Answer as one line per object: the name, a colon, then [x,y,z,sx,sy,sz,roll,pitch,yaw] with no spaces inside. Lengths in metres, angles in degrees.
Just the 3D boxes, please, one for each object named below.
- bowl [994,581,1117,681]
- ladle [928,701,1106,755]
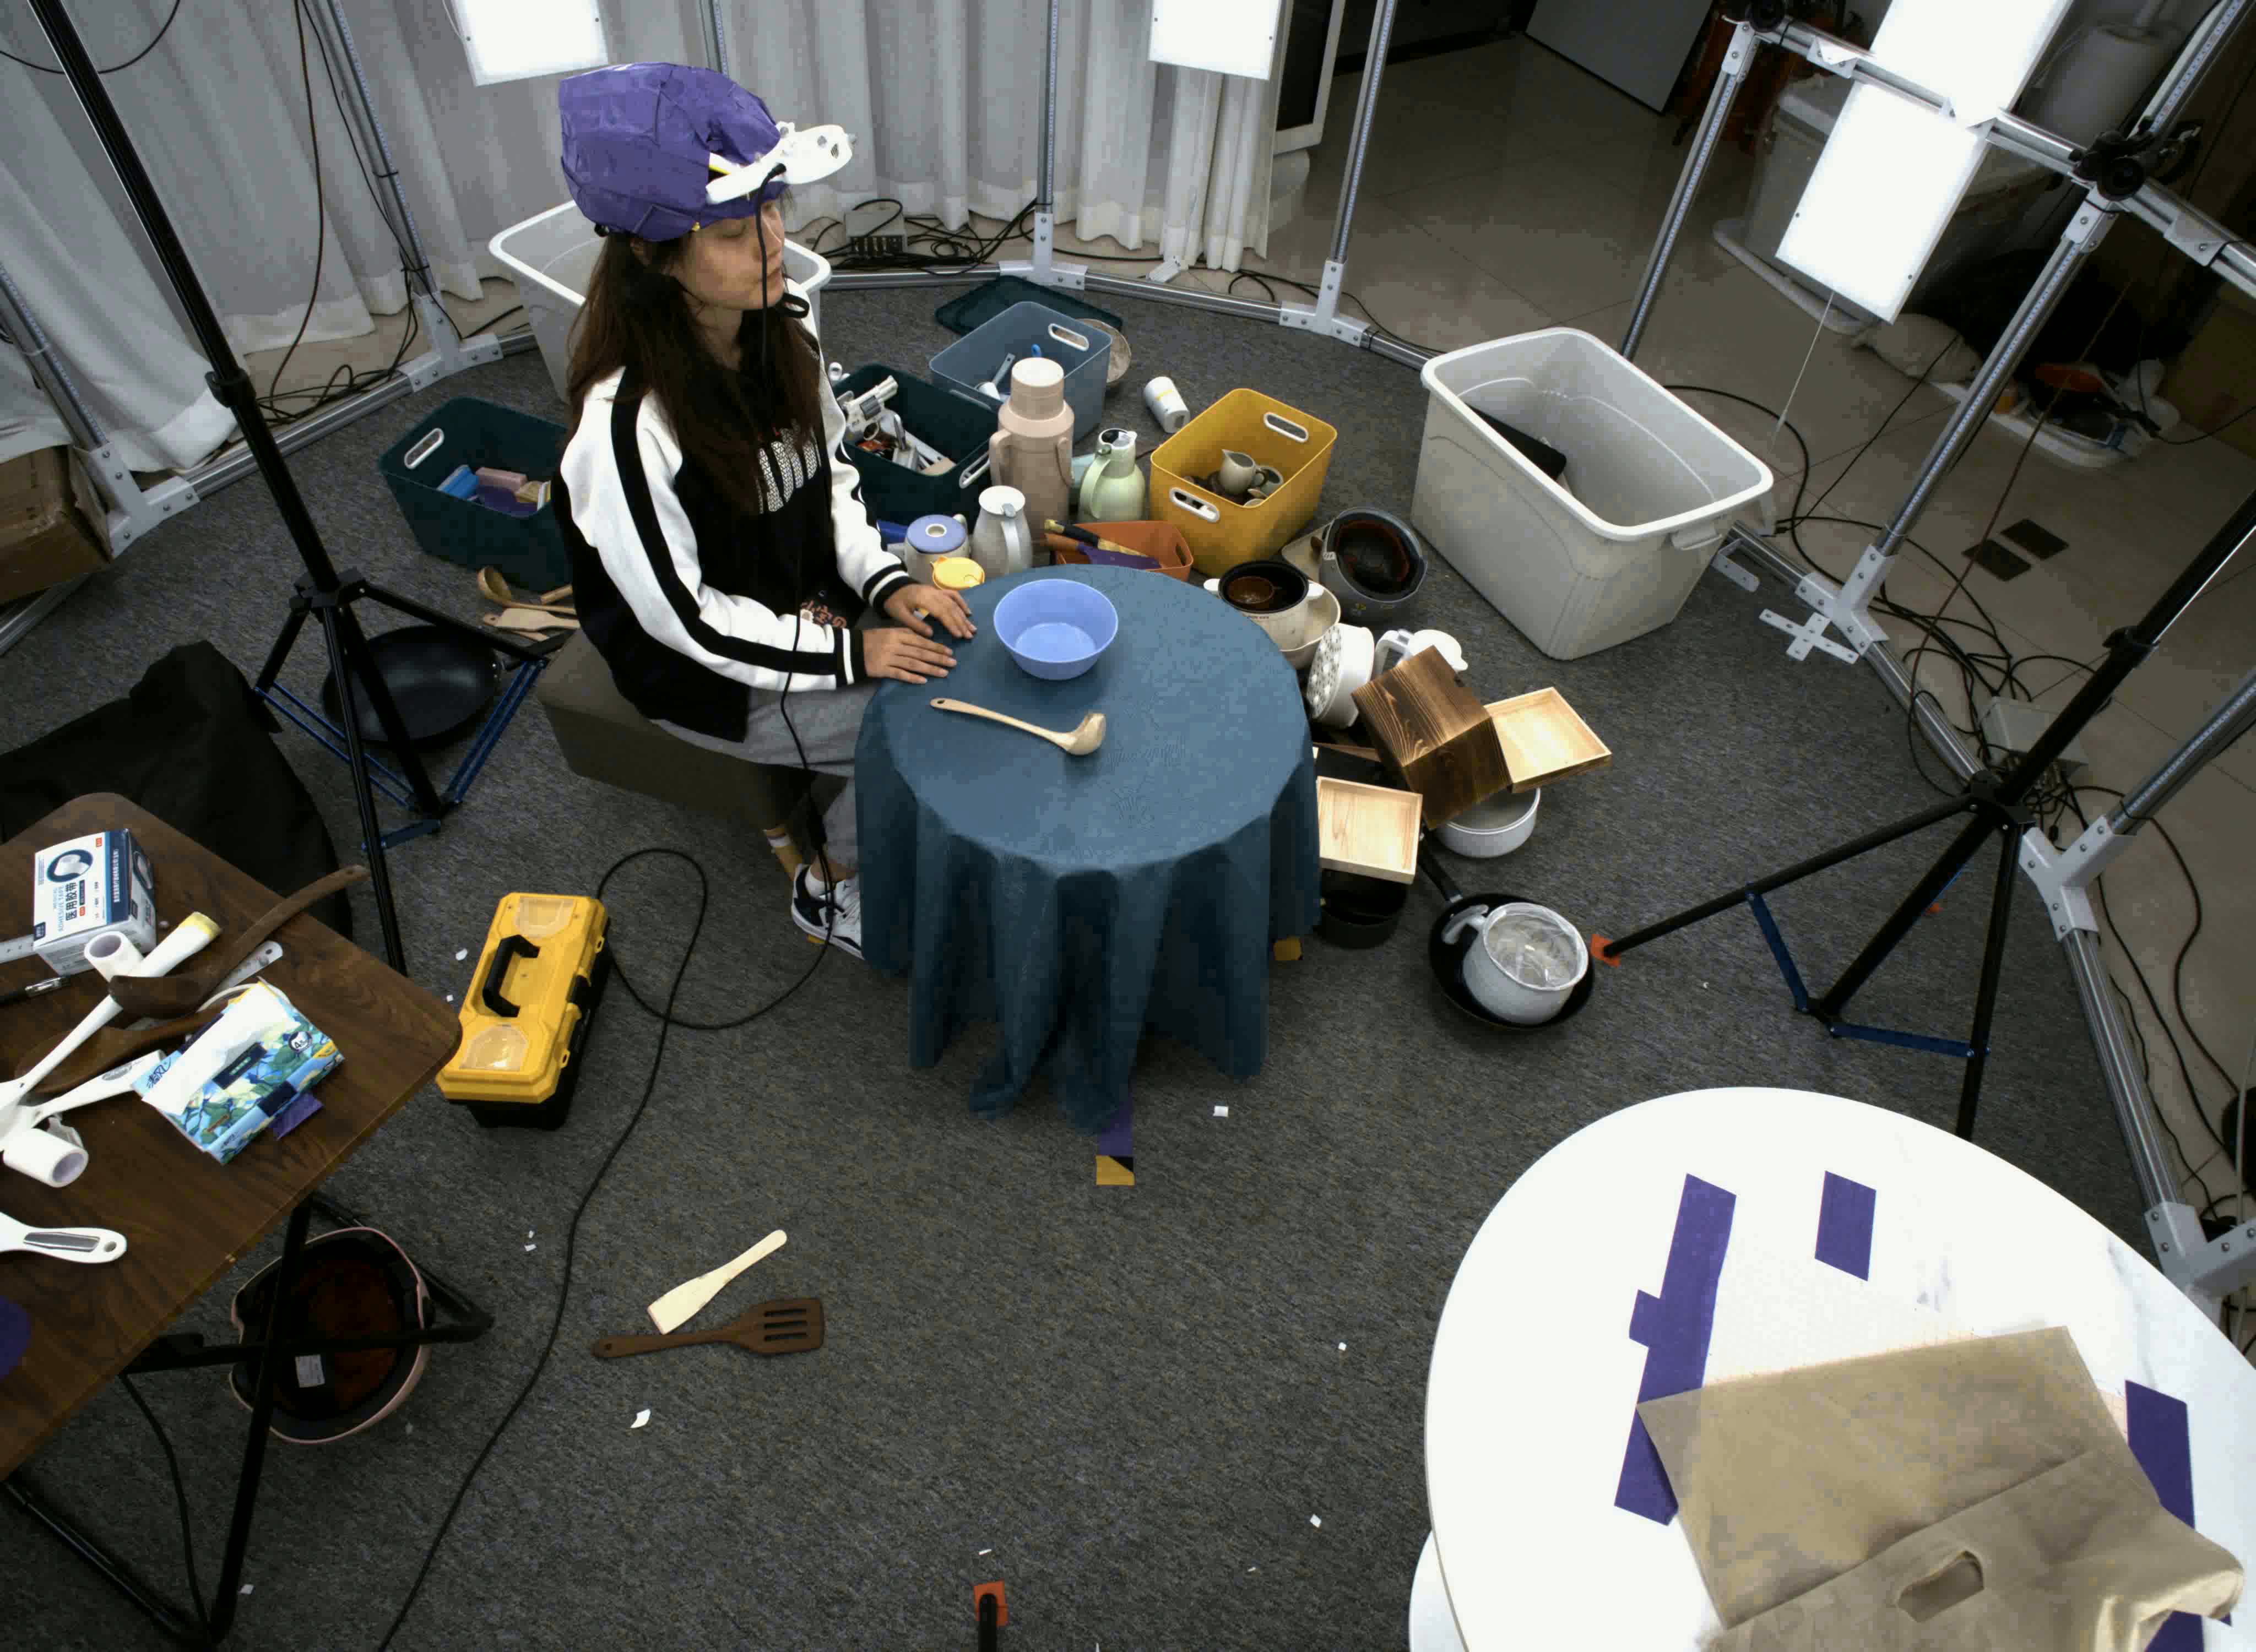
bowl: [-0.105,-0.272,1.854,0.176,0.068,0.180,2,48,-3]
ladle: [-0.155,-0.158,1.749,0.255,0.071,0.073,16,50,9]
